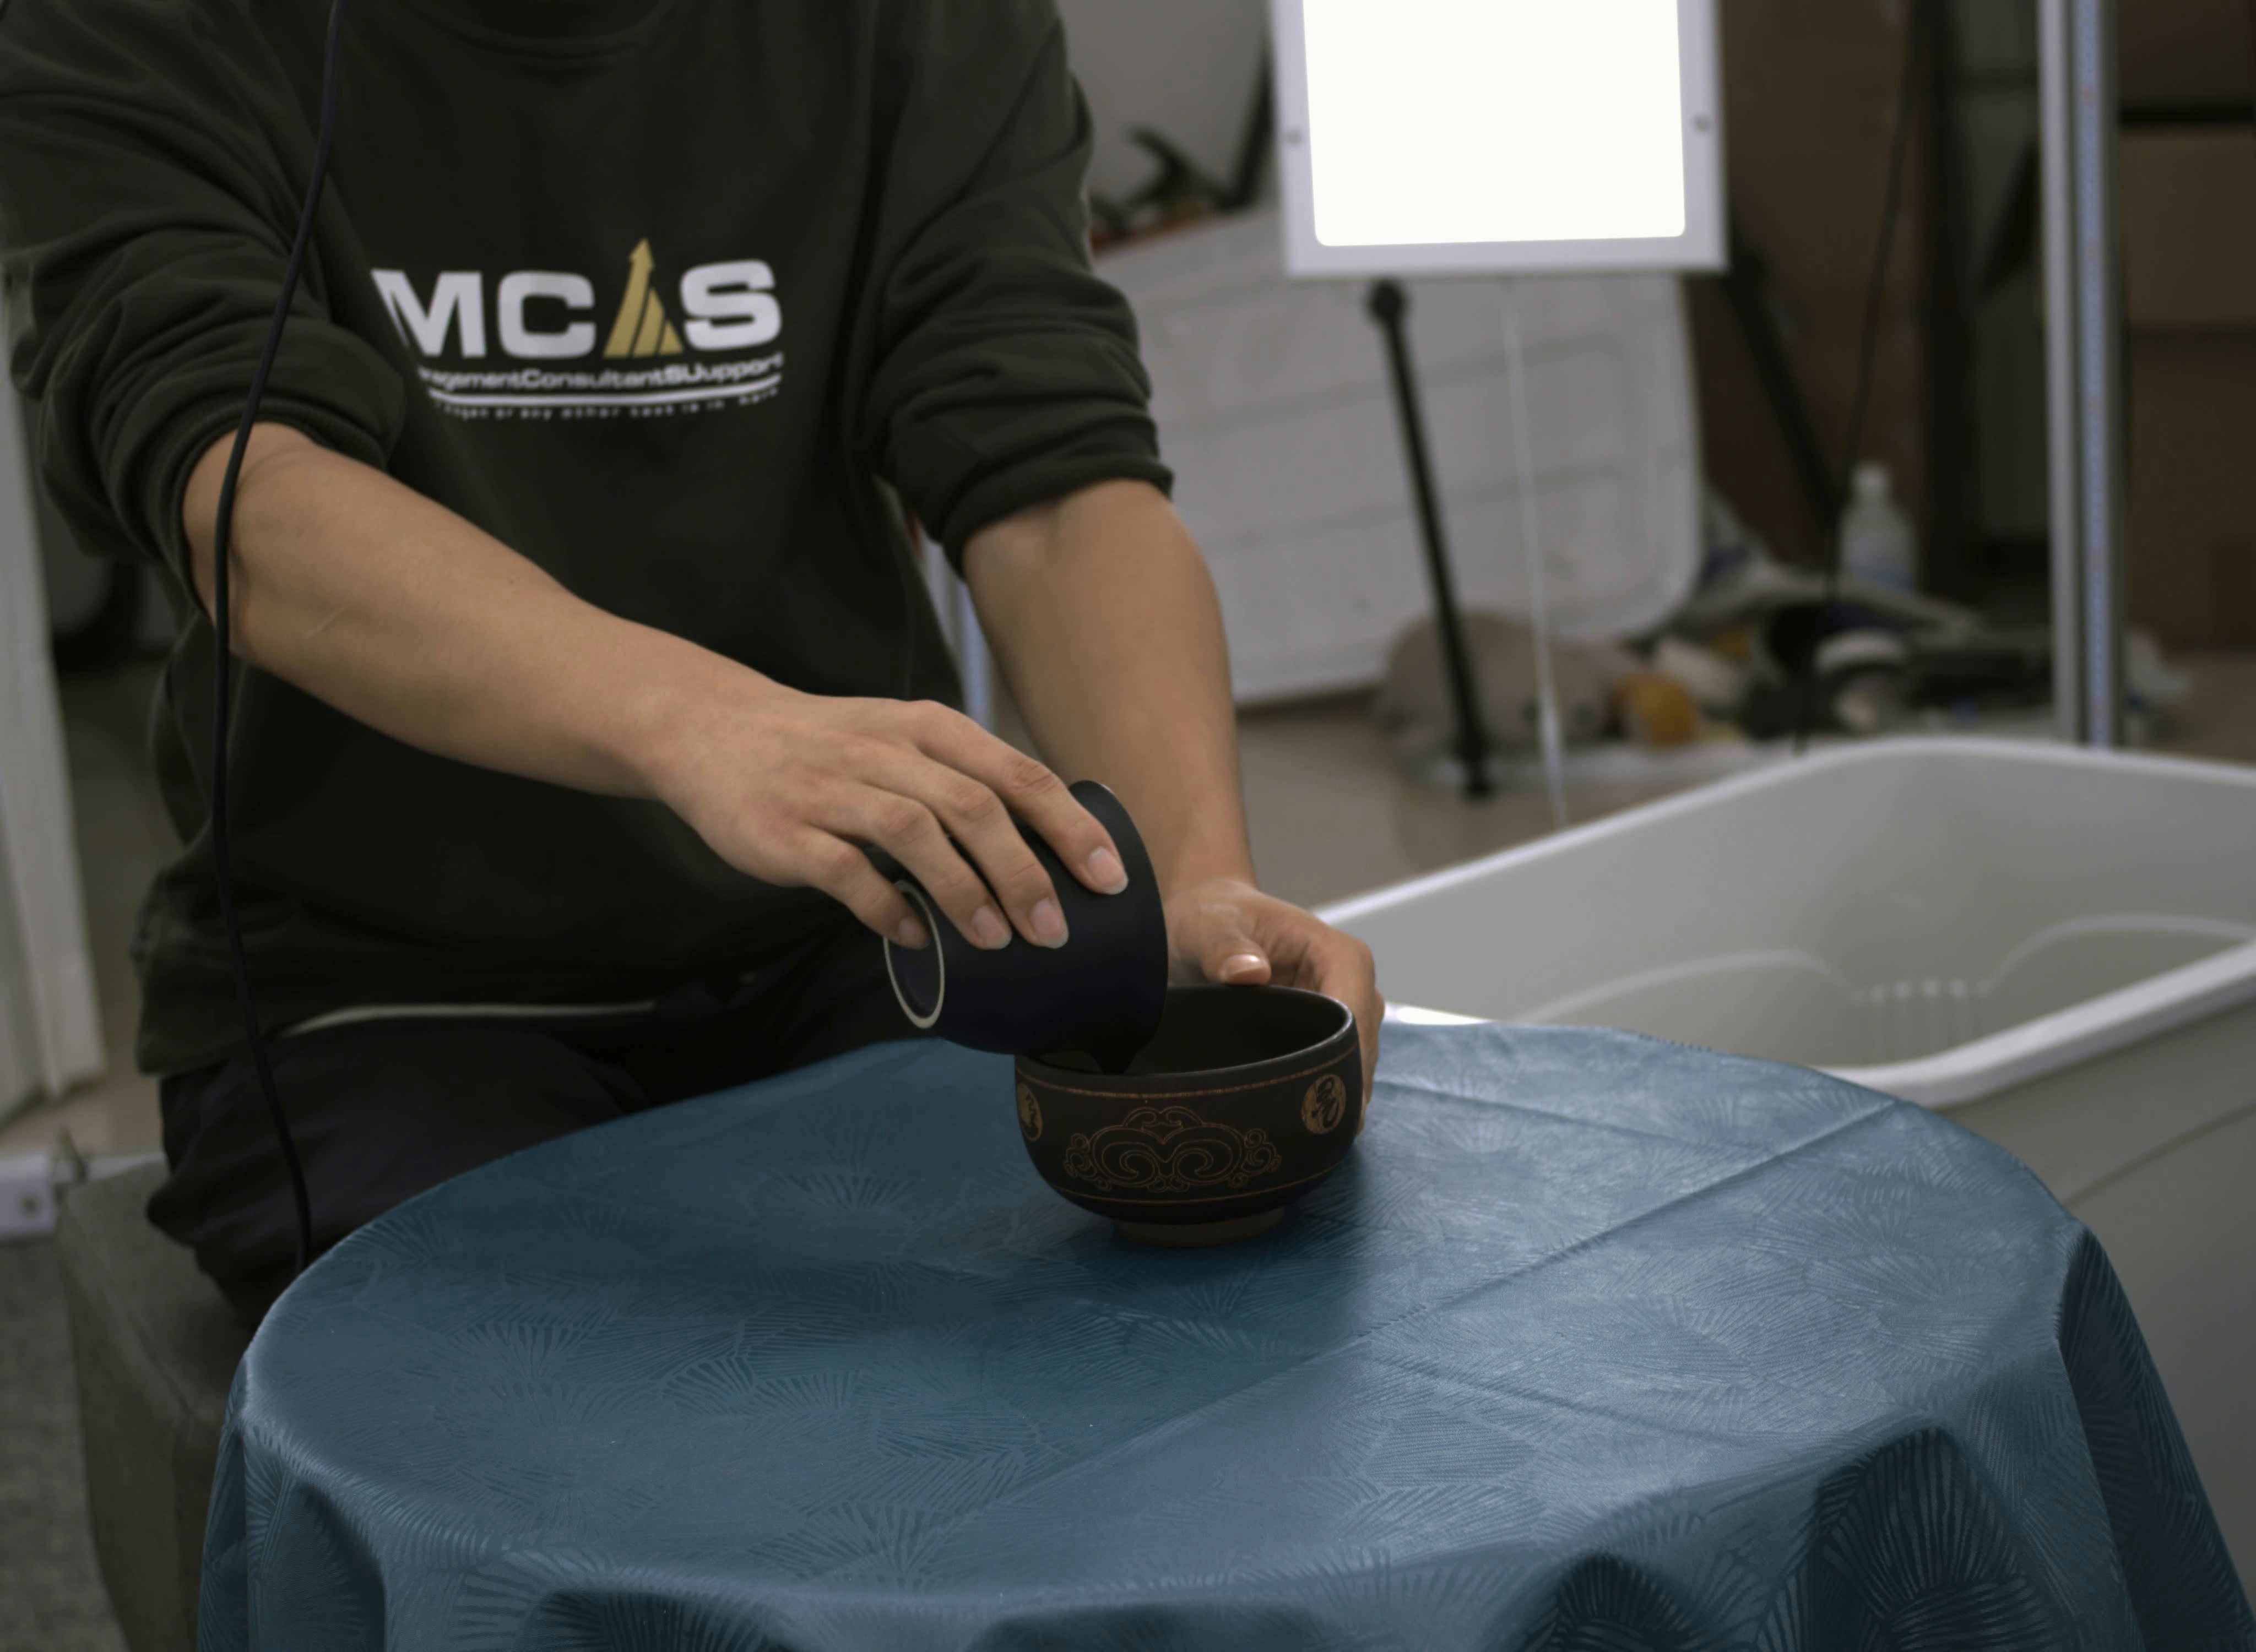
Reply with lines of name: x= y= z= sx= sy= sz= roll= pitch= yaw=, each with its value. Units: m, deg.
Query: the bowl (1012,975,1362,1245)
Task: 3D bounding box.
bowl: x=0.021 y=0.099 z=1.854 sx=0.118 sy=0.070 sz=0.118 roll=-5 pitch=16 yaw=0

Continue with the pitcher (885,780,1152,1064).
pitcher: x=-0.037 y=0.036 z=1.816 sx=0.070 sy=0.096 sz=0.085 roll=-8 pitch=3 yaw=-27
